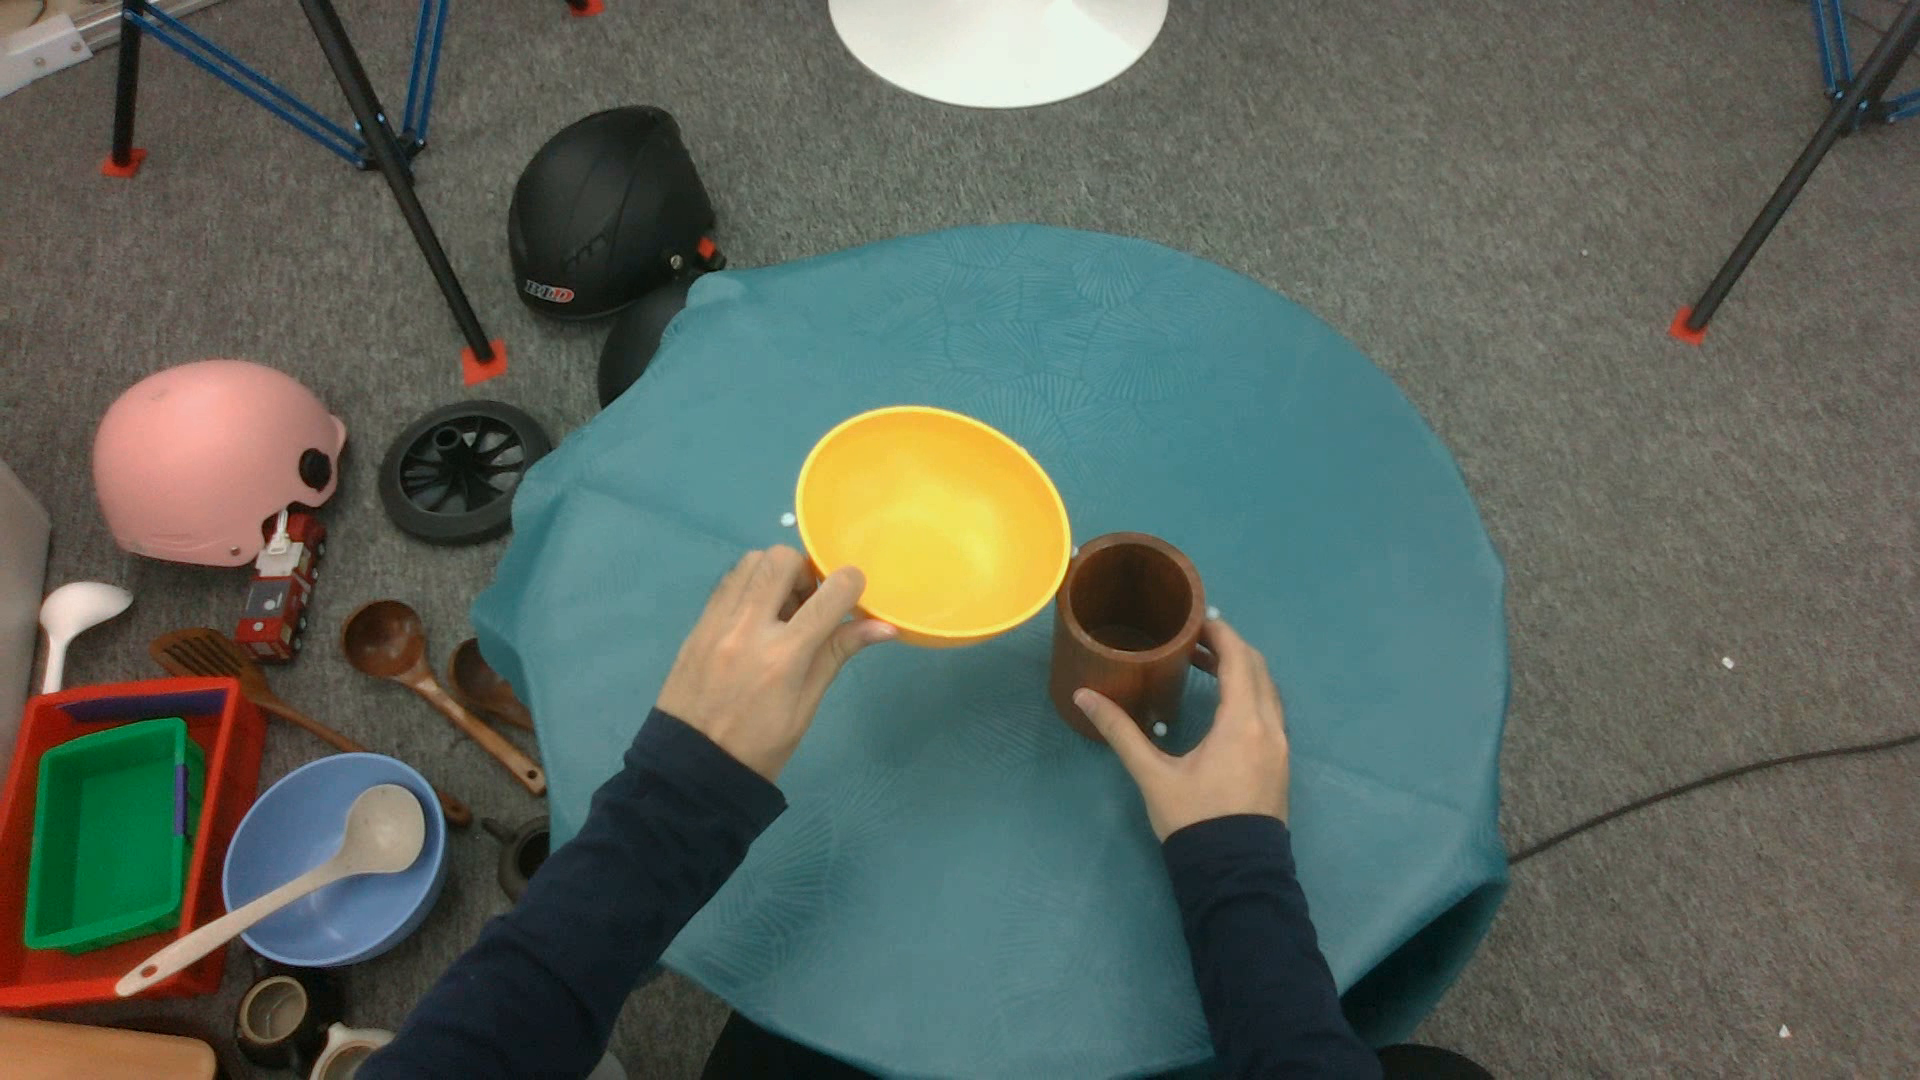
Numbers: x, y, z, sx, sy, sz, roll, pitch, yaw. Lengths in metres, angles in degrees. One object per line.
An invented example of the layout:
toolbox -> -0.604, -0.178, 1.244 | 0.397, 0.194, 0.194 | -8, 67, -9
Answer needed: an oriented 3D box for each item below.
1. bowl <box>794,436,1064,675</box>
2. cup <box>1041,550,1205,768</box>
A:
bowl -> -0.021, 0.018, 0.739 | 0.145, 0.060, 0.146 | 9, 53, -12
cup -> 0.093, 0.070, 0.778 | 0.087, 0.118, 0.088 | -3, 57, 5
